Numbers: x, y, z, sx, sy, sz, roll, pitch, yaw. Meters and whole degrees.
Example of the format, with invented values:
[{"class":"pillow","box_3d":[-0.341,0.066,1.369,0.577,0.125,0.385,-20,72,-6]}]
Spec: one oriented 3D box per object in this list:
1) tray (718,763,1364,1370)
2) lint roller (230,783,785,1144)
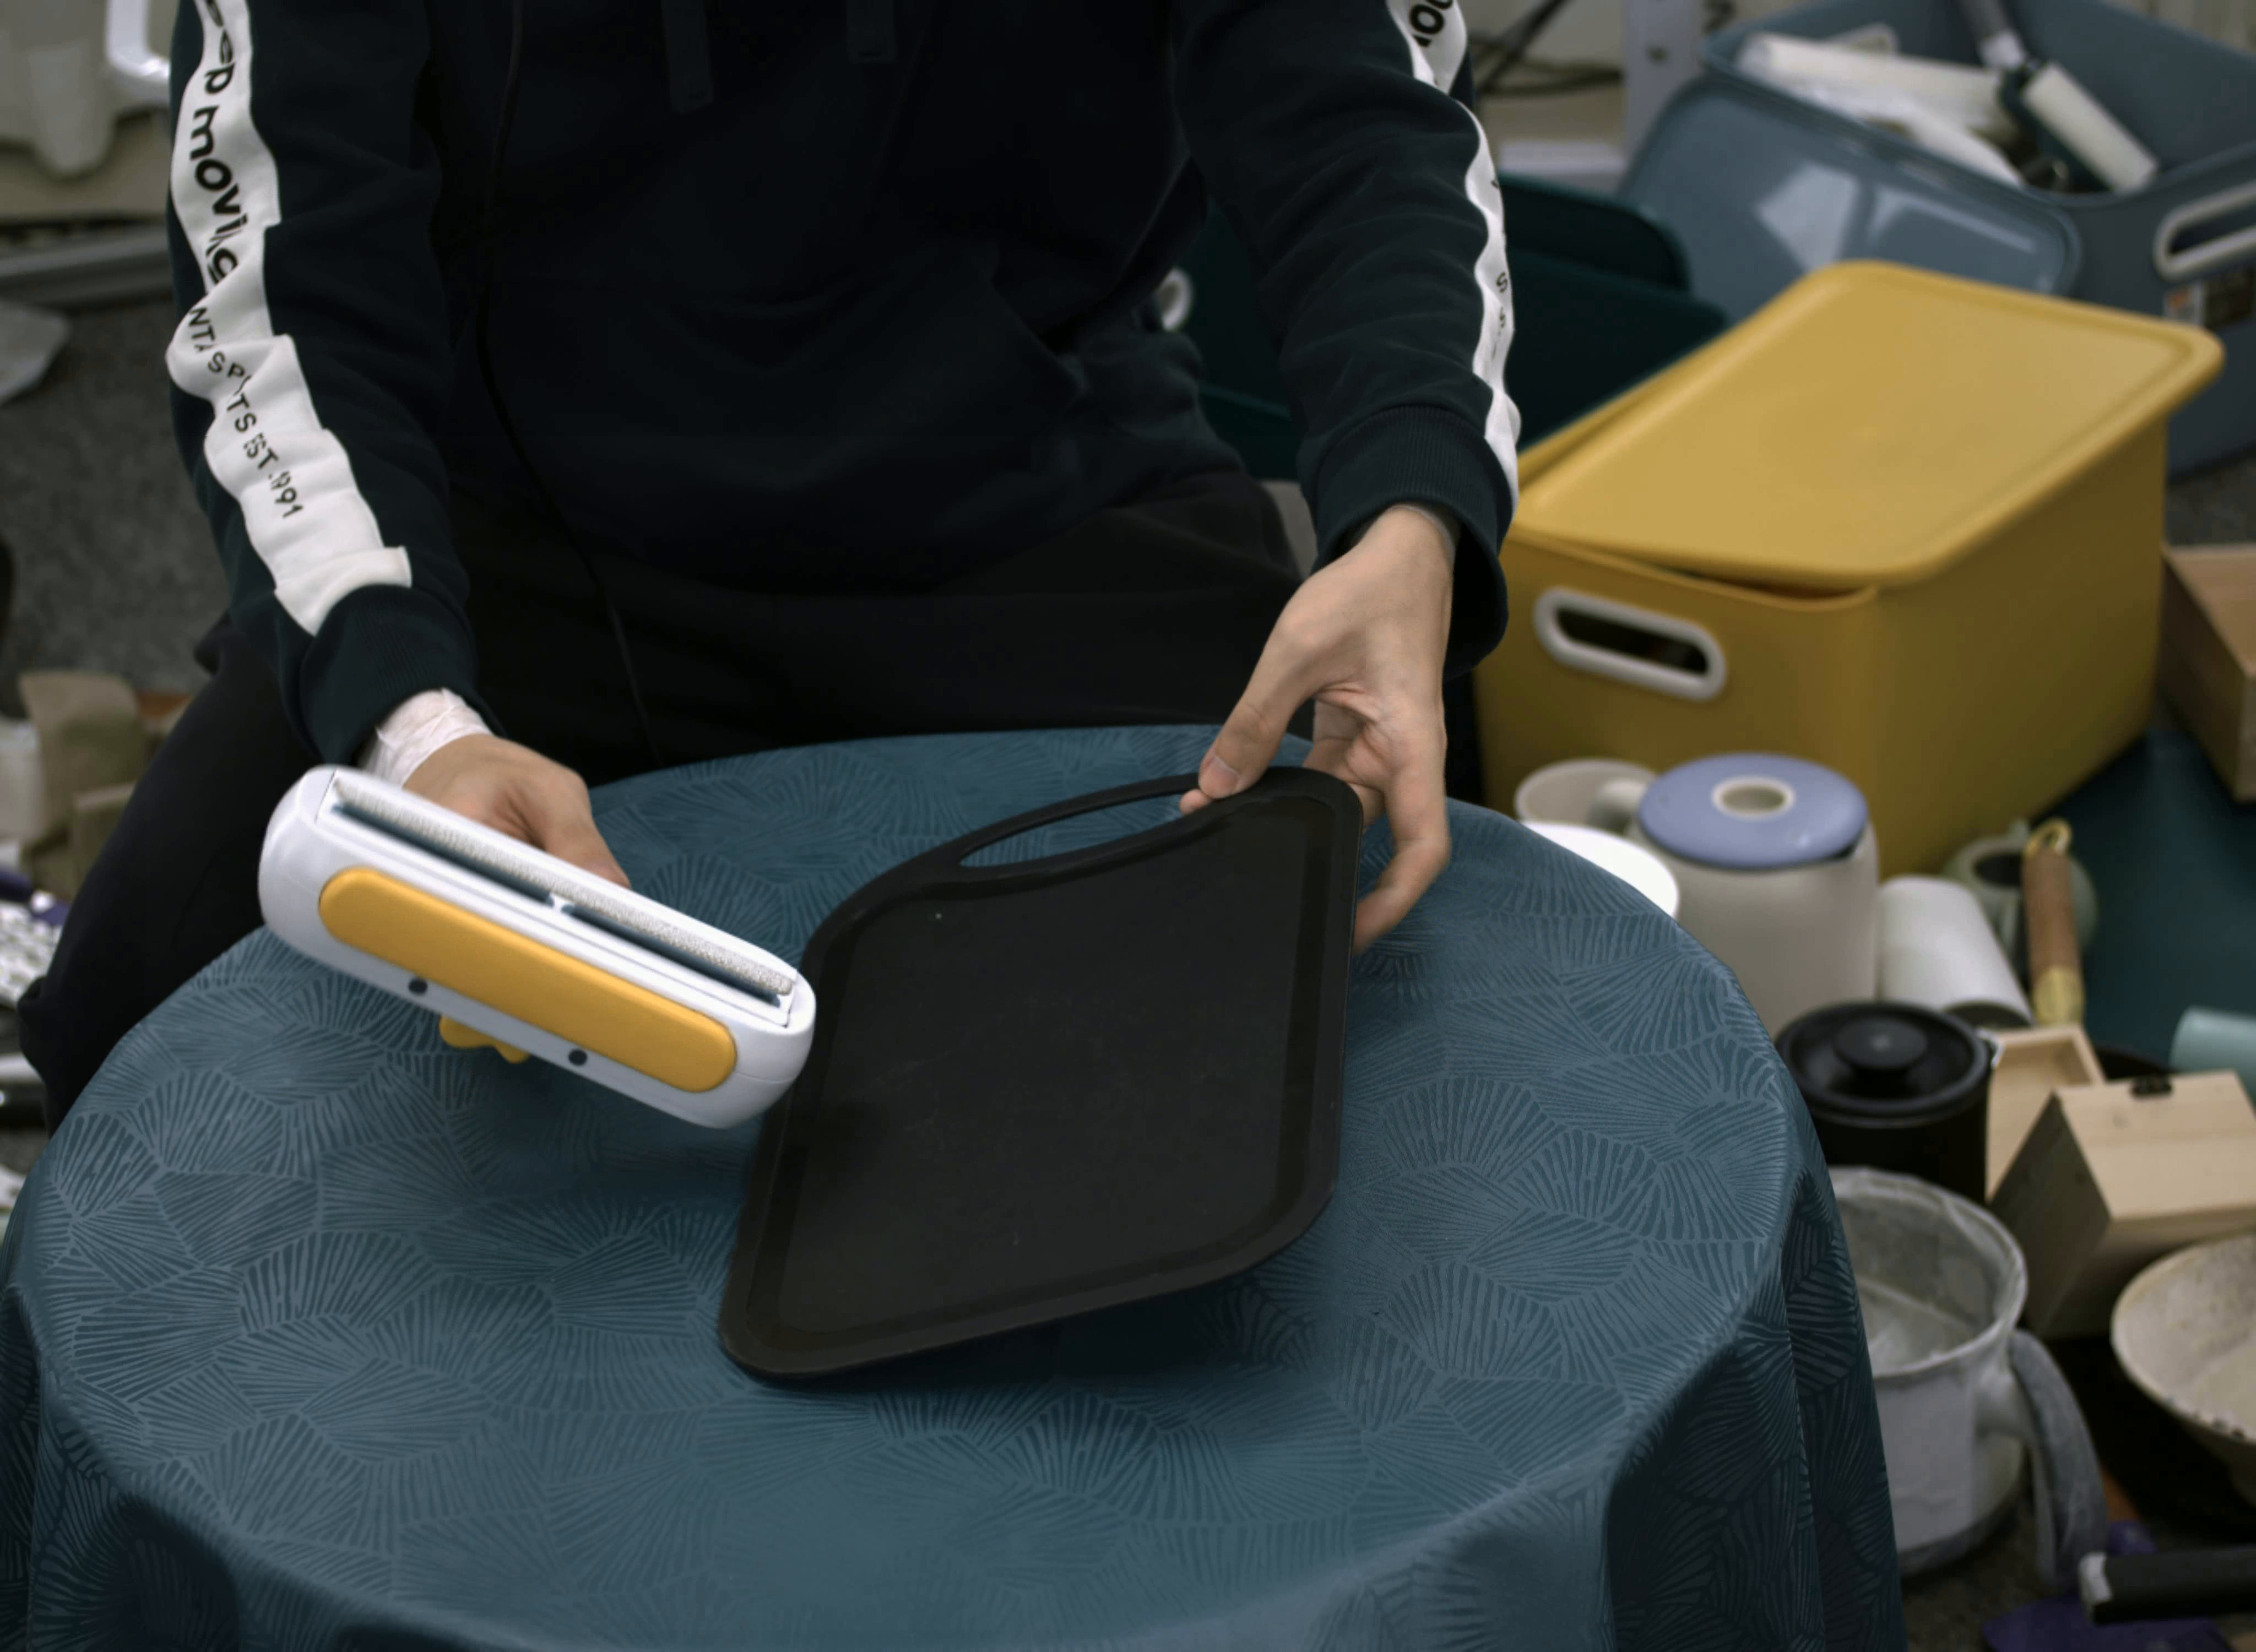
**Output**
[{"class":"tray","box_3d":[-0.025,0.071,1.880,0.209,0.010,0.331,-15,28,13]},{"class":"lint roller","box_3d":[-0.210,0.050,1.912,0.192,0.074,0.192,22,0,-3]}]
